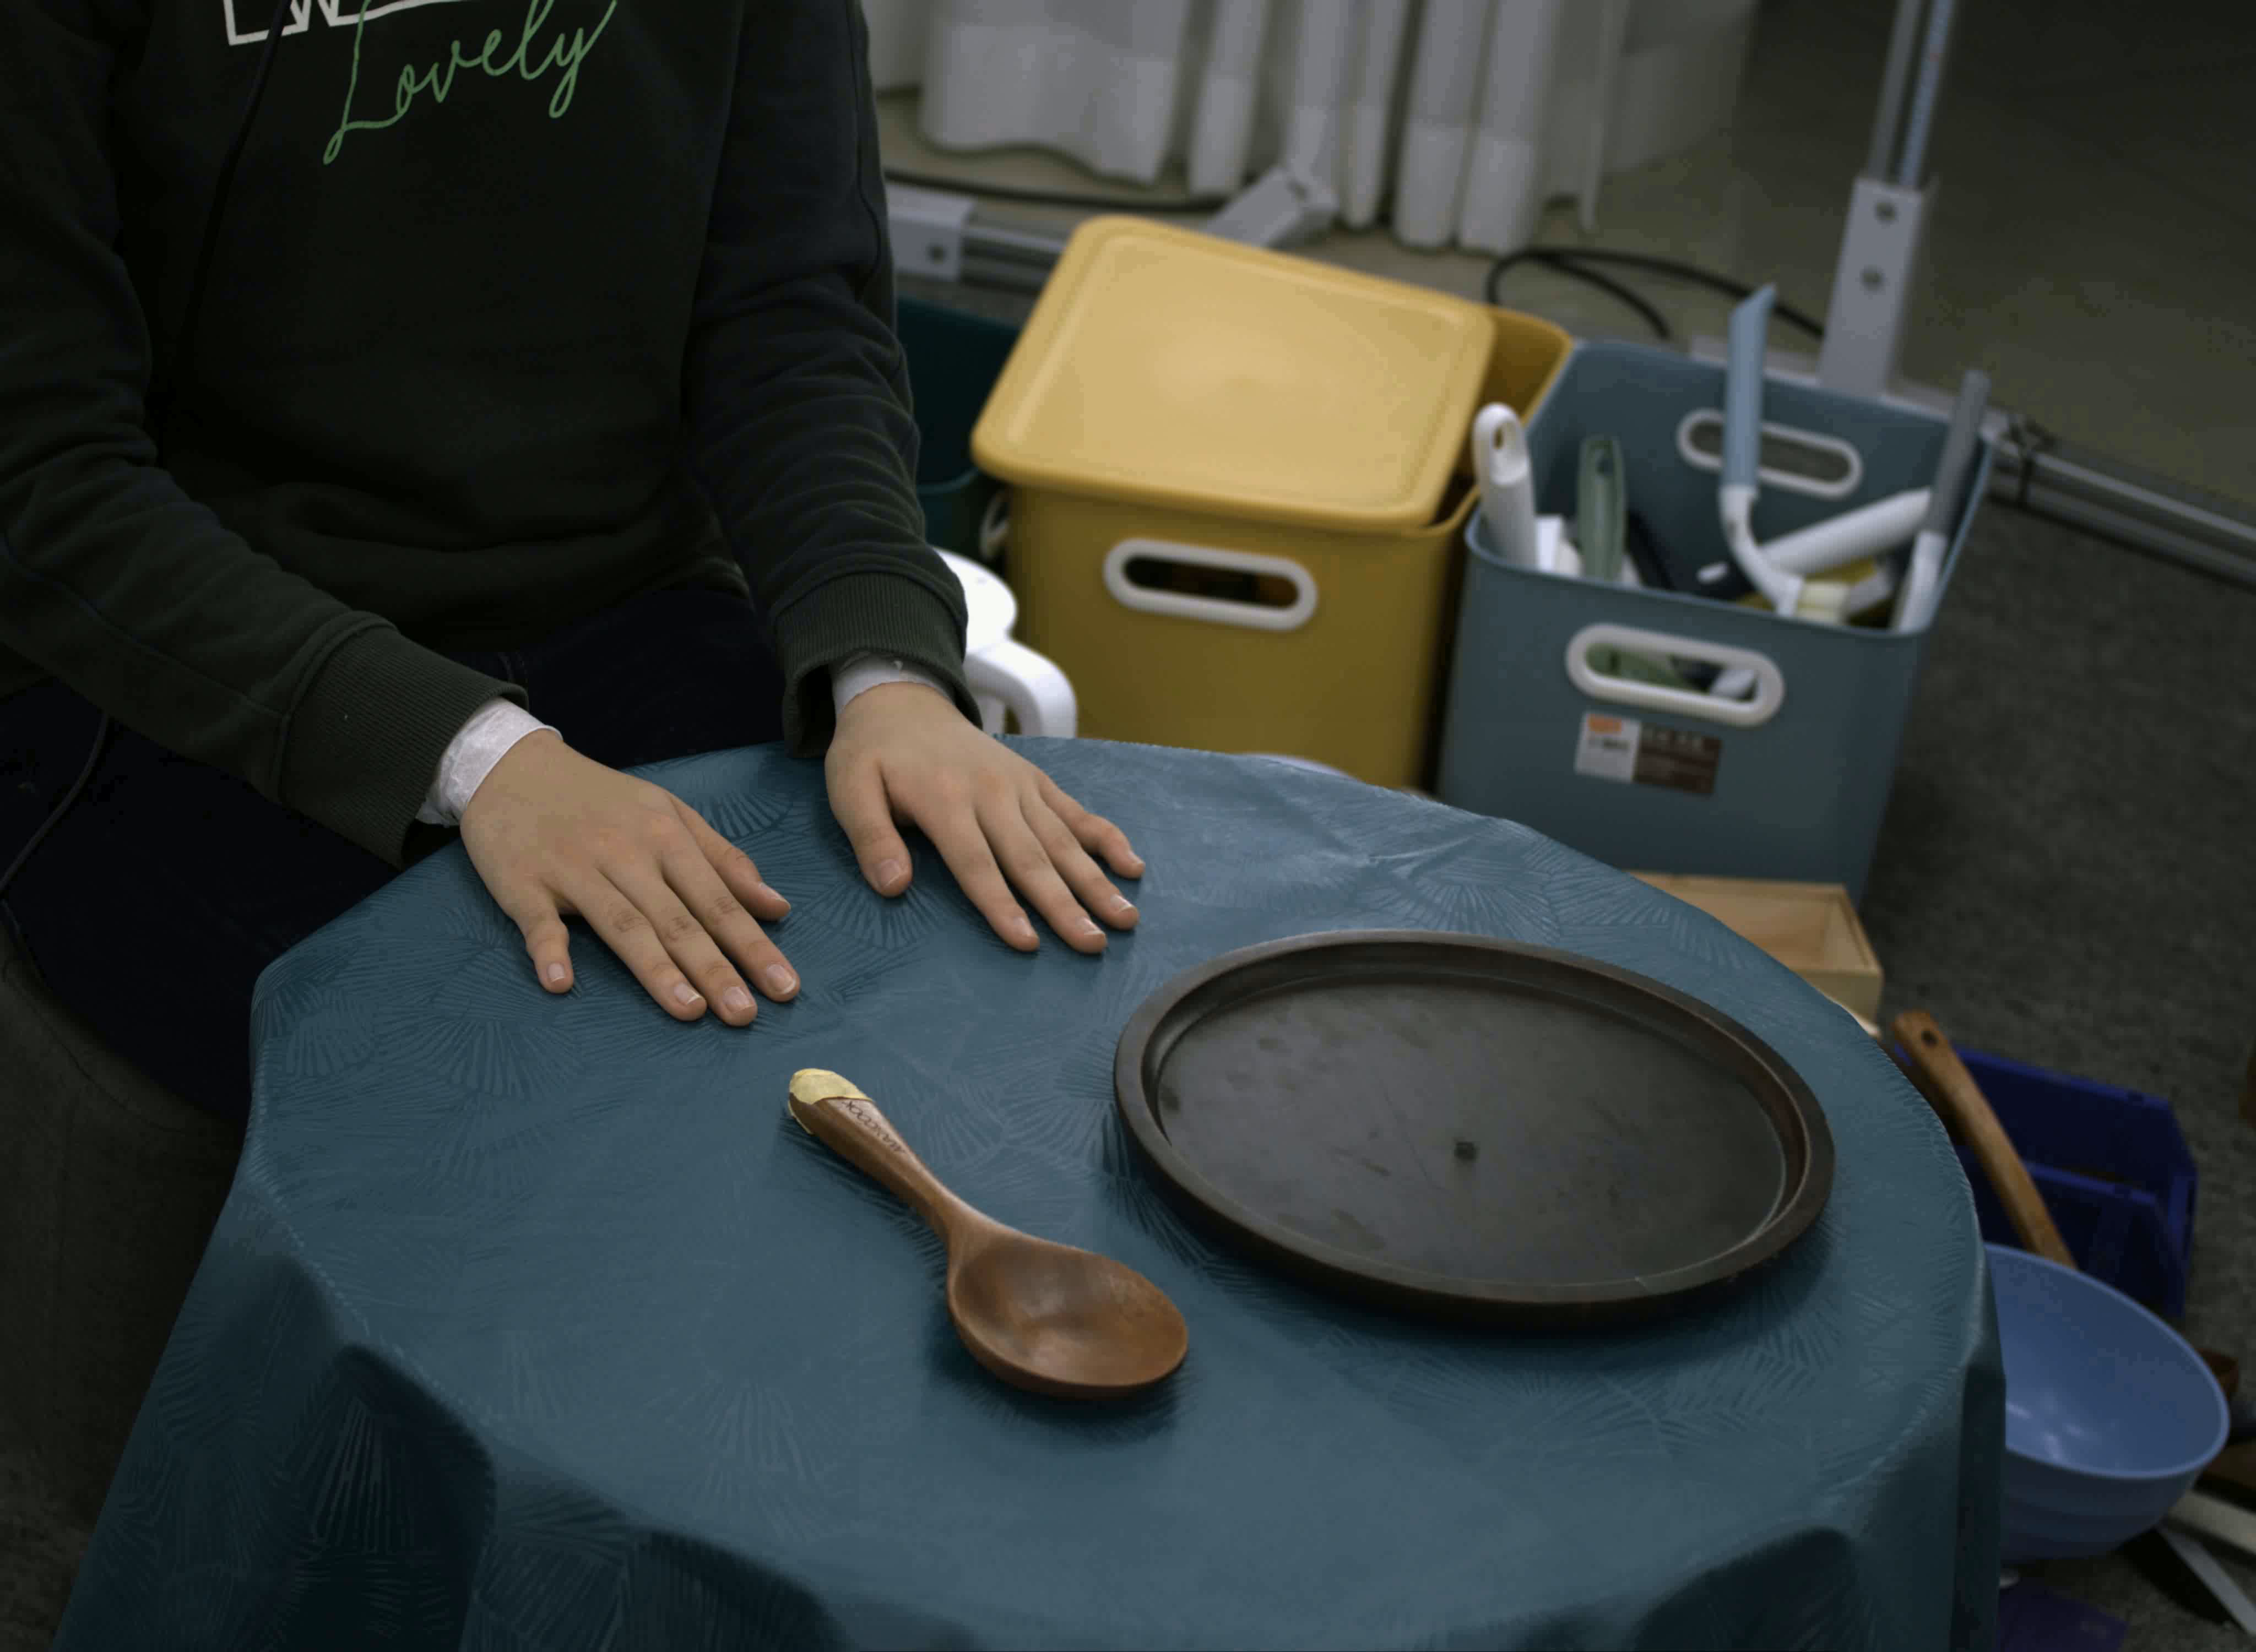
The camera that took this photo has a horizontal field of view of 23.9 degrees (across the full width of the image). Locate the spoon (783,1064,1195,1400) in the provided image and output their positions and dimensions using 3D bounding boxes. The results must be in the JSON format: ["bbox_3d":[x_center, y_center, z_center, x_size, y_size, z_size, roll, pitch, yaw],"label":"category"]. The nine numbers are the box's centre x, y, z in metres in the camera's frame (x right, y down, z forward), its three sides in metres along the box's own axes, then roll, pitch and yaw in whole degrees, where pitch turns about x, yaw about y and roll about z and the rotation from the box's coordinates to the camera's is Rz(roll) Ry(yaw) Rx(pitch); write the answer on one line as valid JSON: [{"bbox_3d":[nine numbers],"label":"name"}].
[{"bbox_3d":[-0.053,0.134,1.749,0.075,0.017,0.218,-11,32,-31],"label":"spoon"}]

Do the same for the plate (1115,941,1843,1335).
[{"bbox_3d":[0.120,0.105,1.839,0.254,0.029,0.256,6,27,-3],"label":"plate"}]
